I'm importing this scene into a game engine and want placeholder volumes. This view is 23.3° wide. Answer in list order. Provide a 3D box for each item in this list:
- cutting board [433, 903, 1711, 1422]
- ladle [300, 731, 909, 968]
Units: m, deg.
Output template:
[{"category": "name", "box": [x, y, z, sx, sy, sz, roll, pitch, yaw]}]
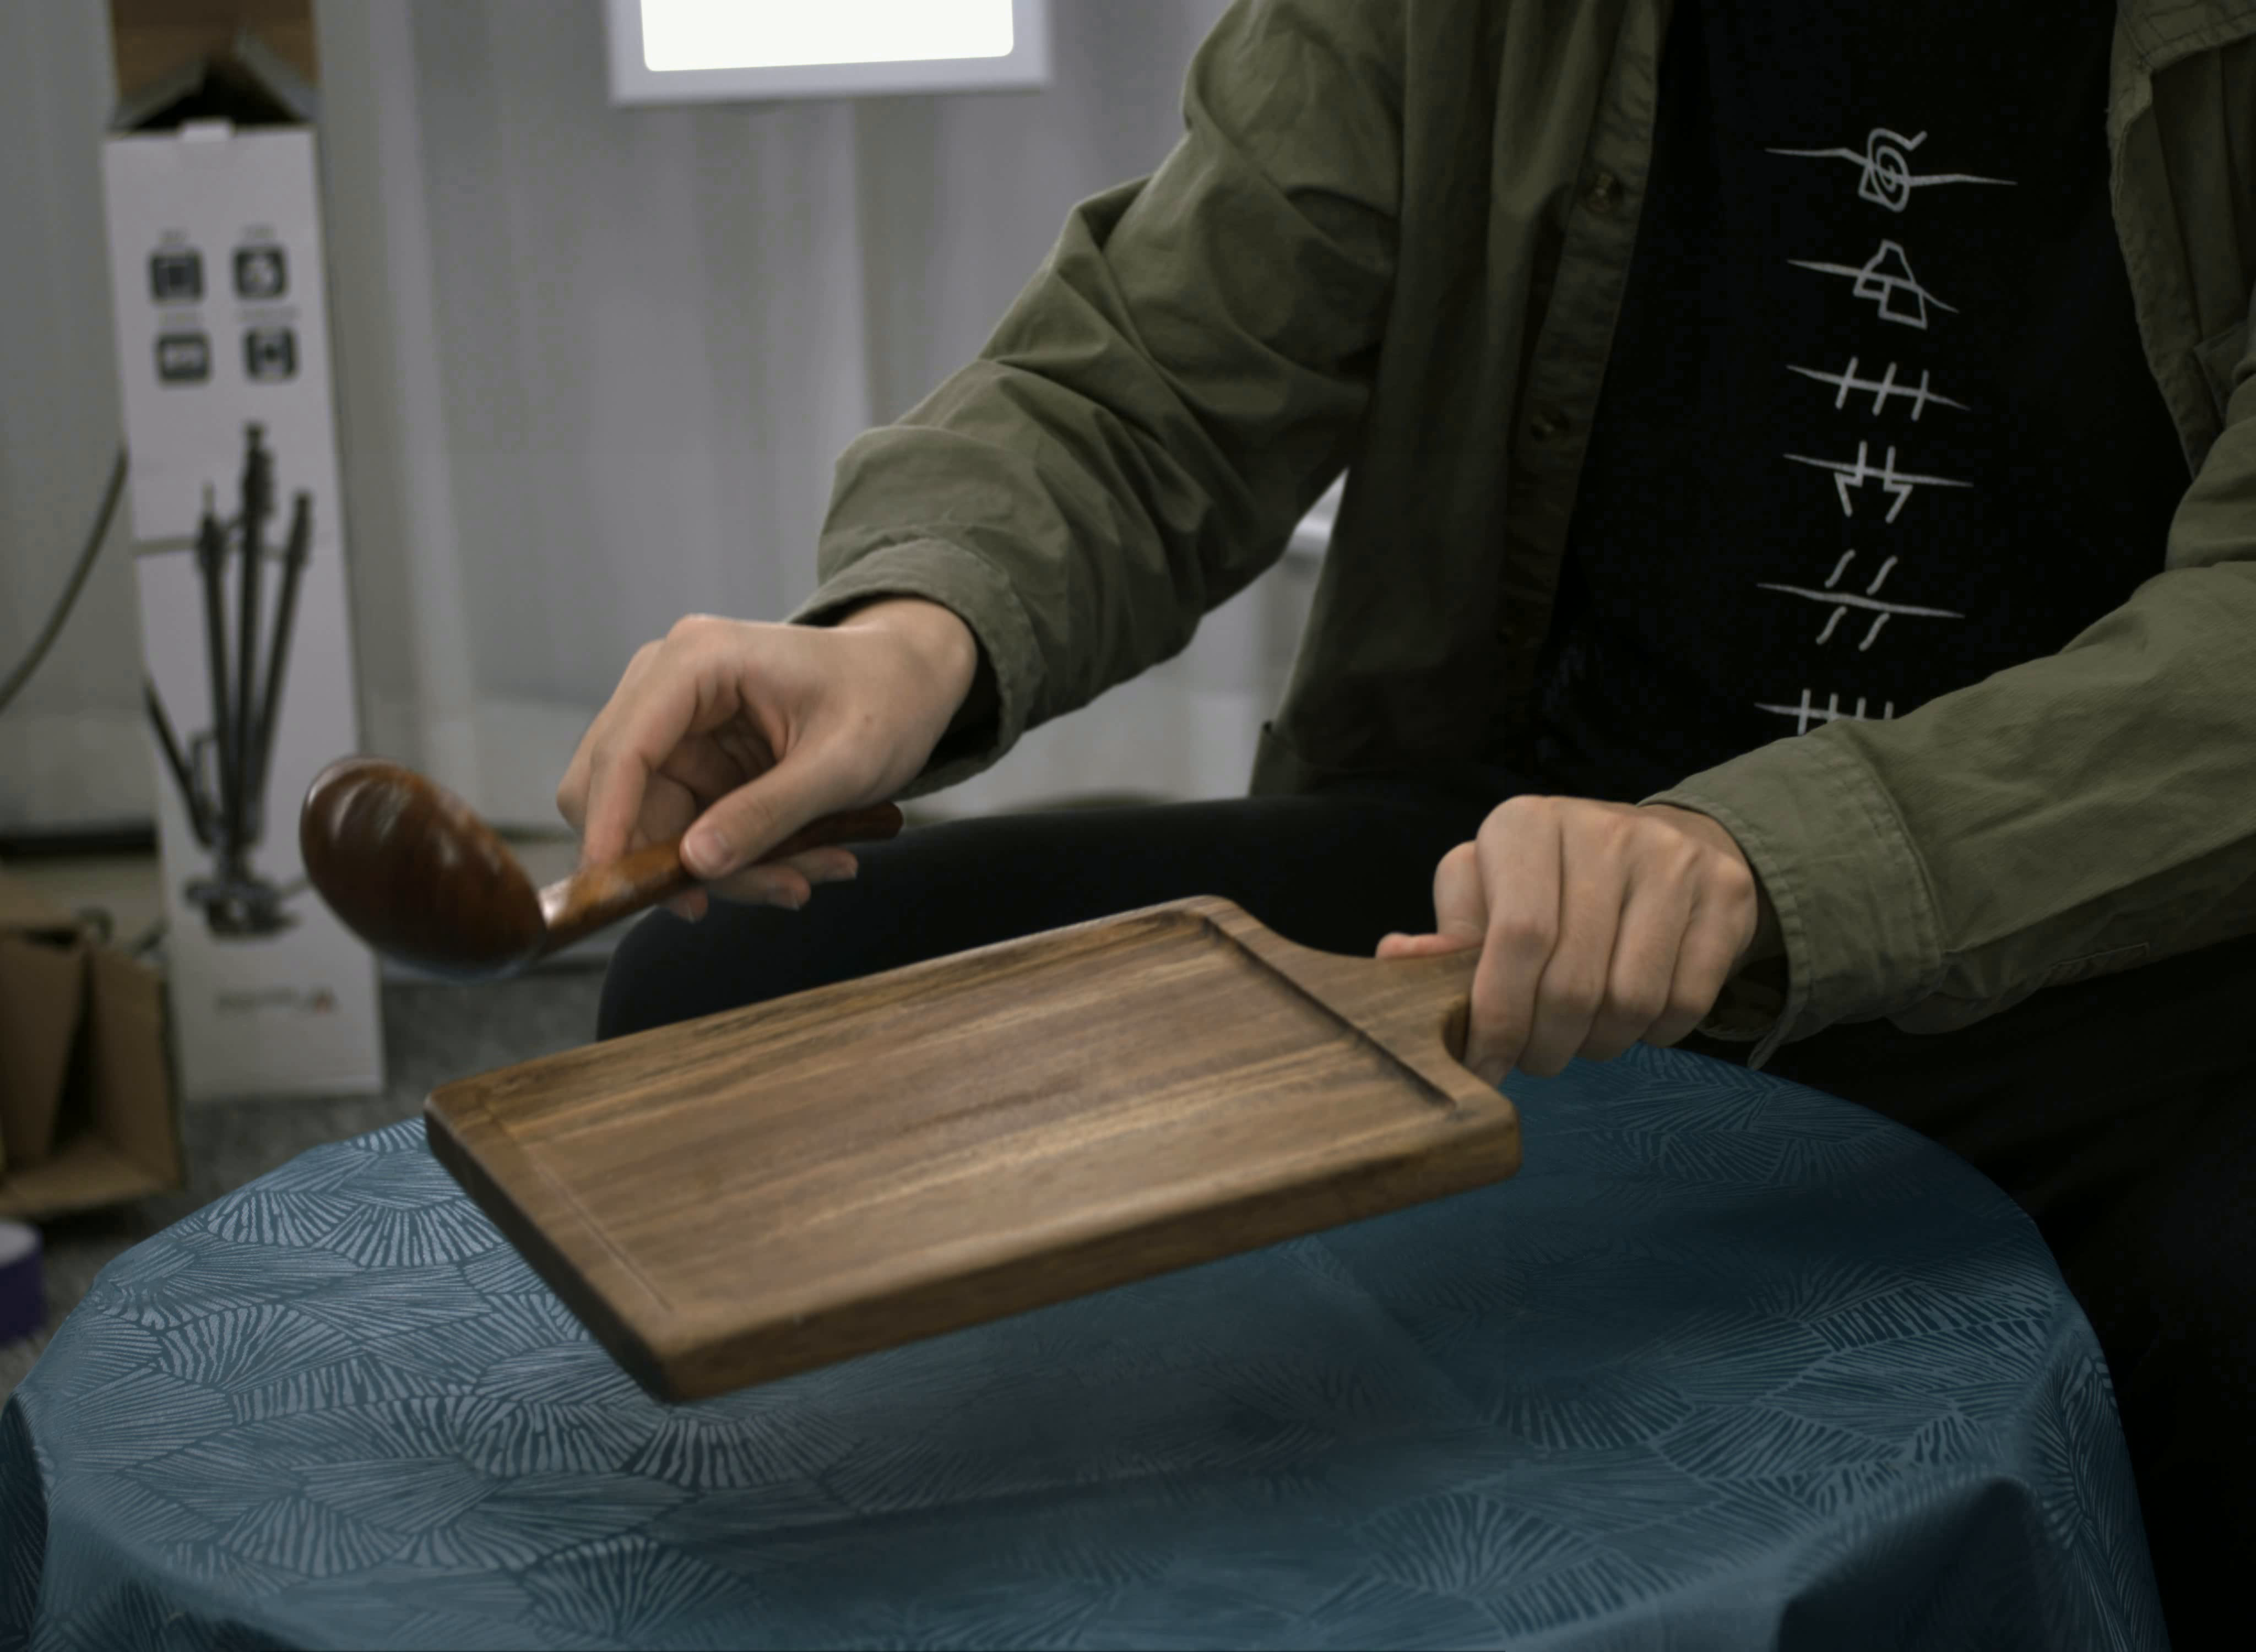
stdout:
[{"category": "cutting board", "box": [0.003, 0.075, 1.495, 0.351, 0.023, 0.203, -13, 22, -20]}, {"category": "ladle", "box": [-0.147, -0.009, 1.661, 0.082, 0.076, 0.274, 25, 22, 26]}]
